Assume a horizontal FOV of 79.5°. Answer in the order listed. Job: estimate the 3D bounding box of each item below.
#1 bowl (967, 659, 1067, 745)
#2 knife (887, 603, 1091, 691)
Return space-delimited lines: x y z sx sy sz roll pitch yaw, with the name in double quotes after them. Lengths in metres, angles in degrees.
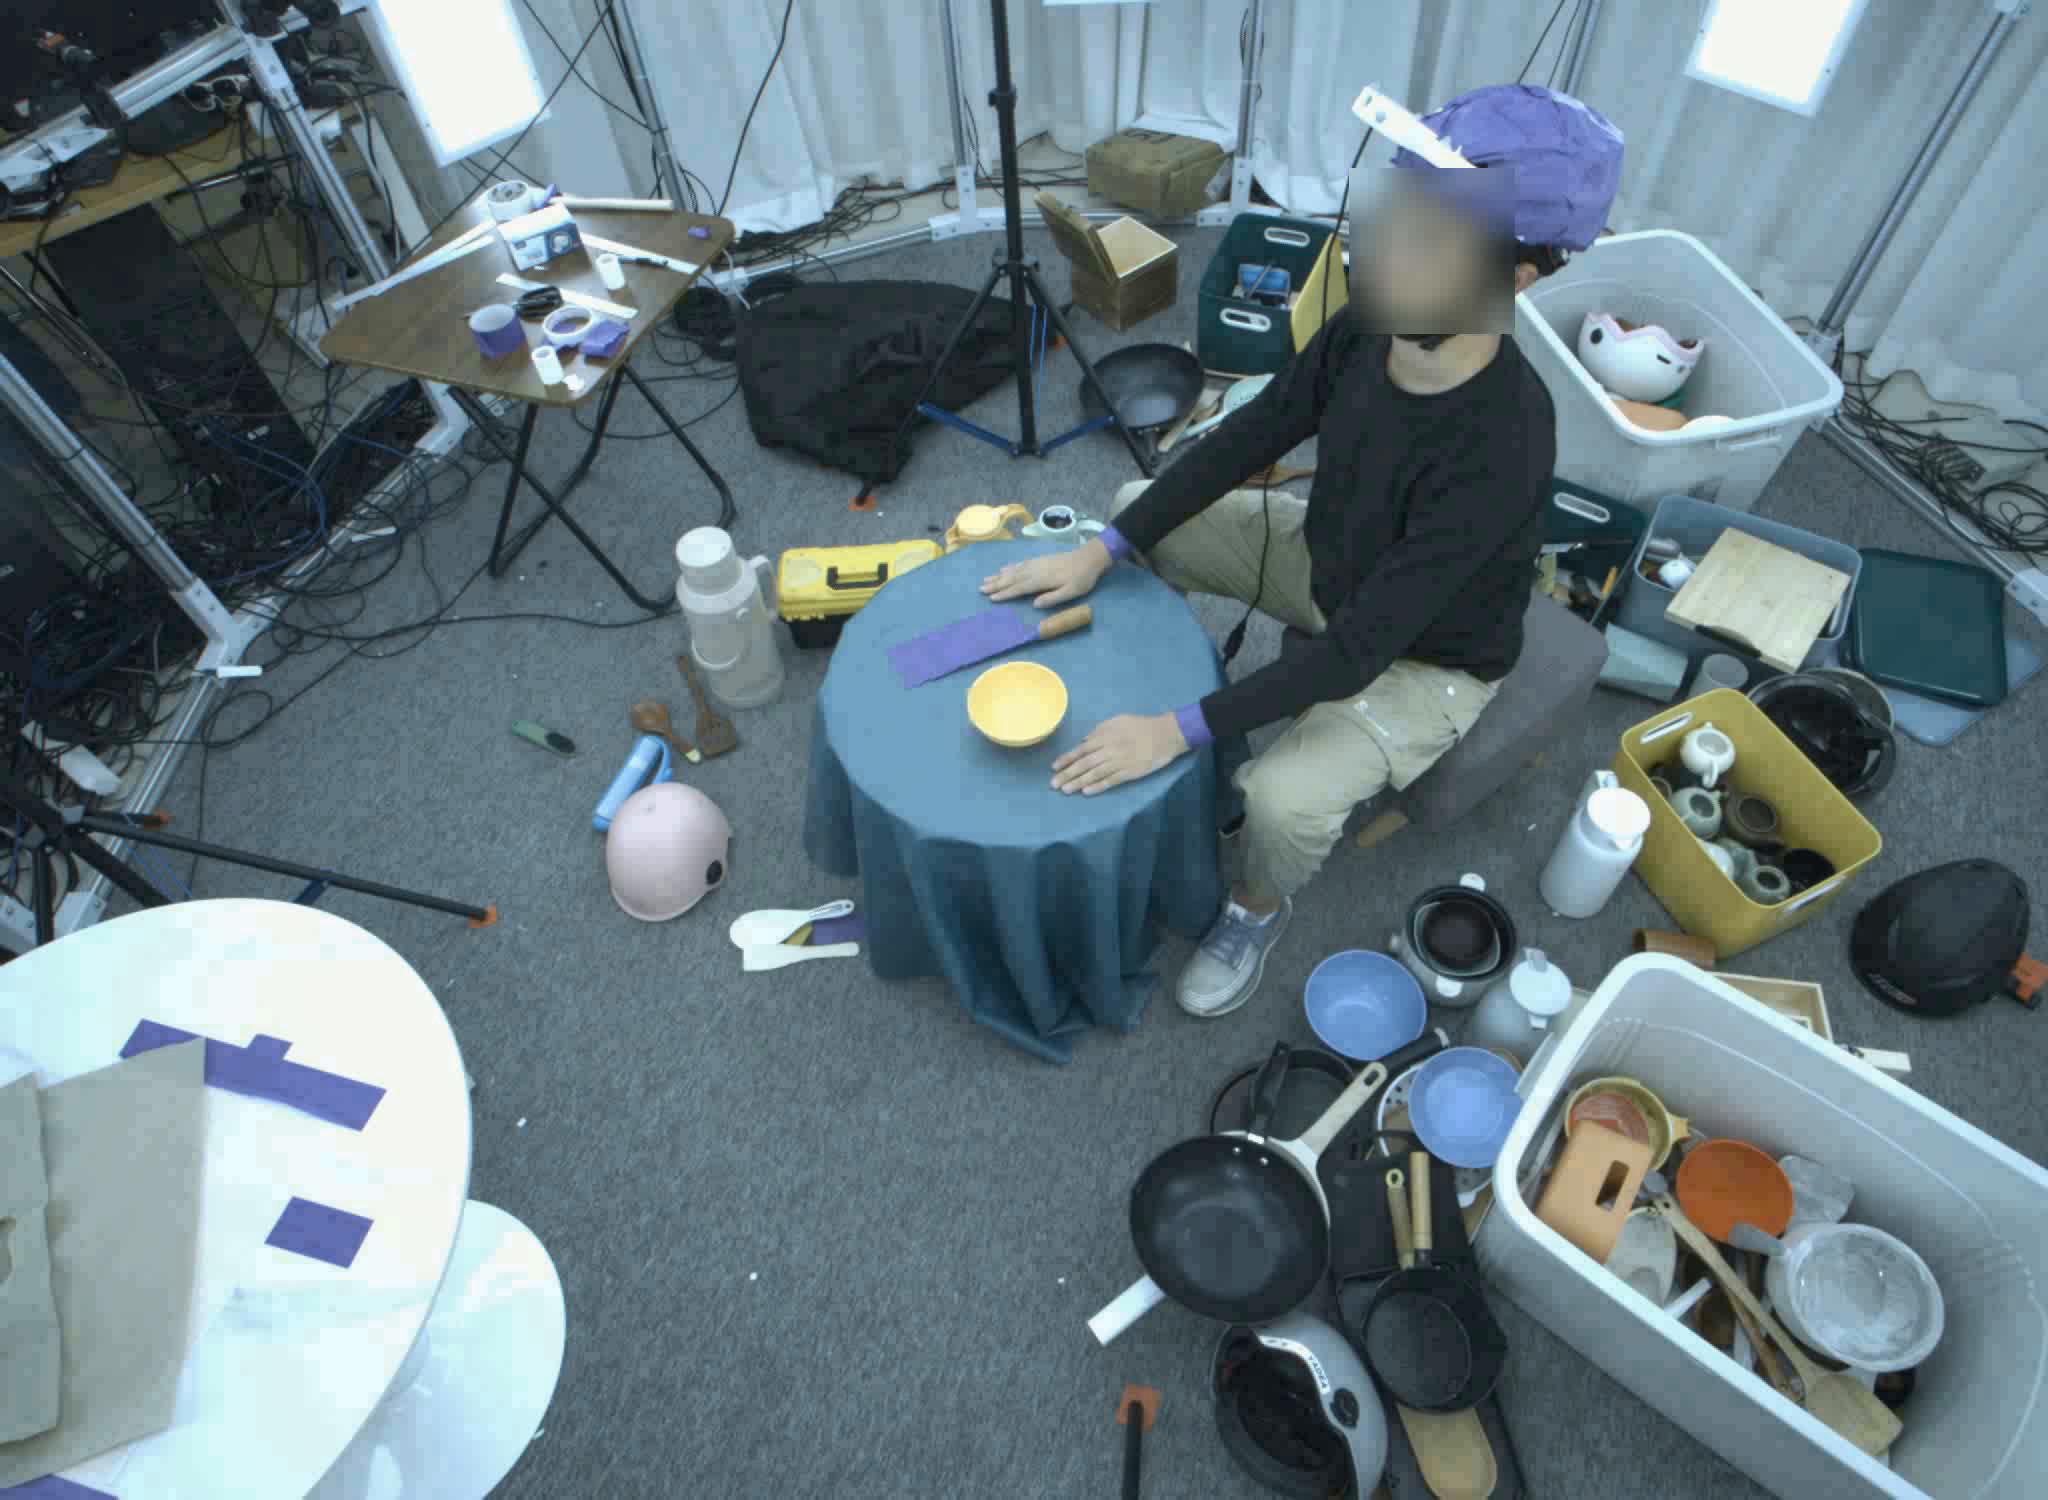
-0.008 -0.058 1.787 0.145 0.061 0.144 0 56 2 "bowl"
-0.057 -0.183 1.899 0.317 0.032 0.102 -21 57 -12 "knife"
